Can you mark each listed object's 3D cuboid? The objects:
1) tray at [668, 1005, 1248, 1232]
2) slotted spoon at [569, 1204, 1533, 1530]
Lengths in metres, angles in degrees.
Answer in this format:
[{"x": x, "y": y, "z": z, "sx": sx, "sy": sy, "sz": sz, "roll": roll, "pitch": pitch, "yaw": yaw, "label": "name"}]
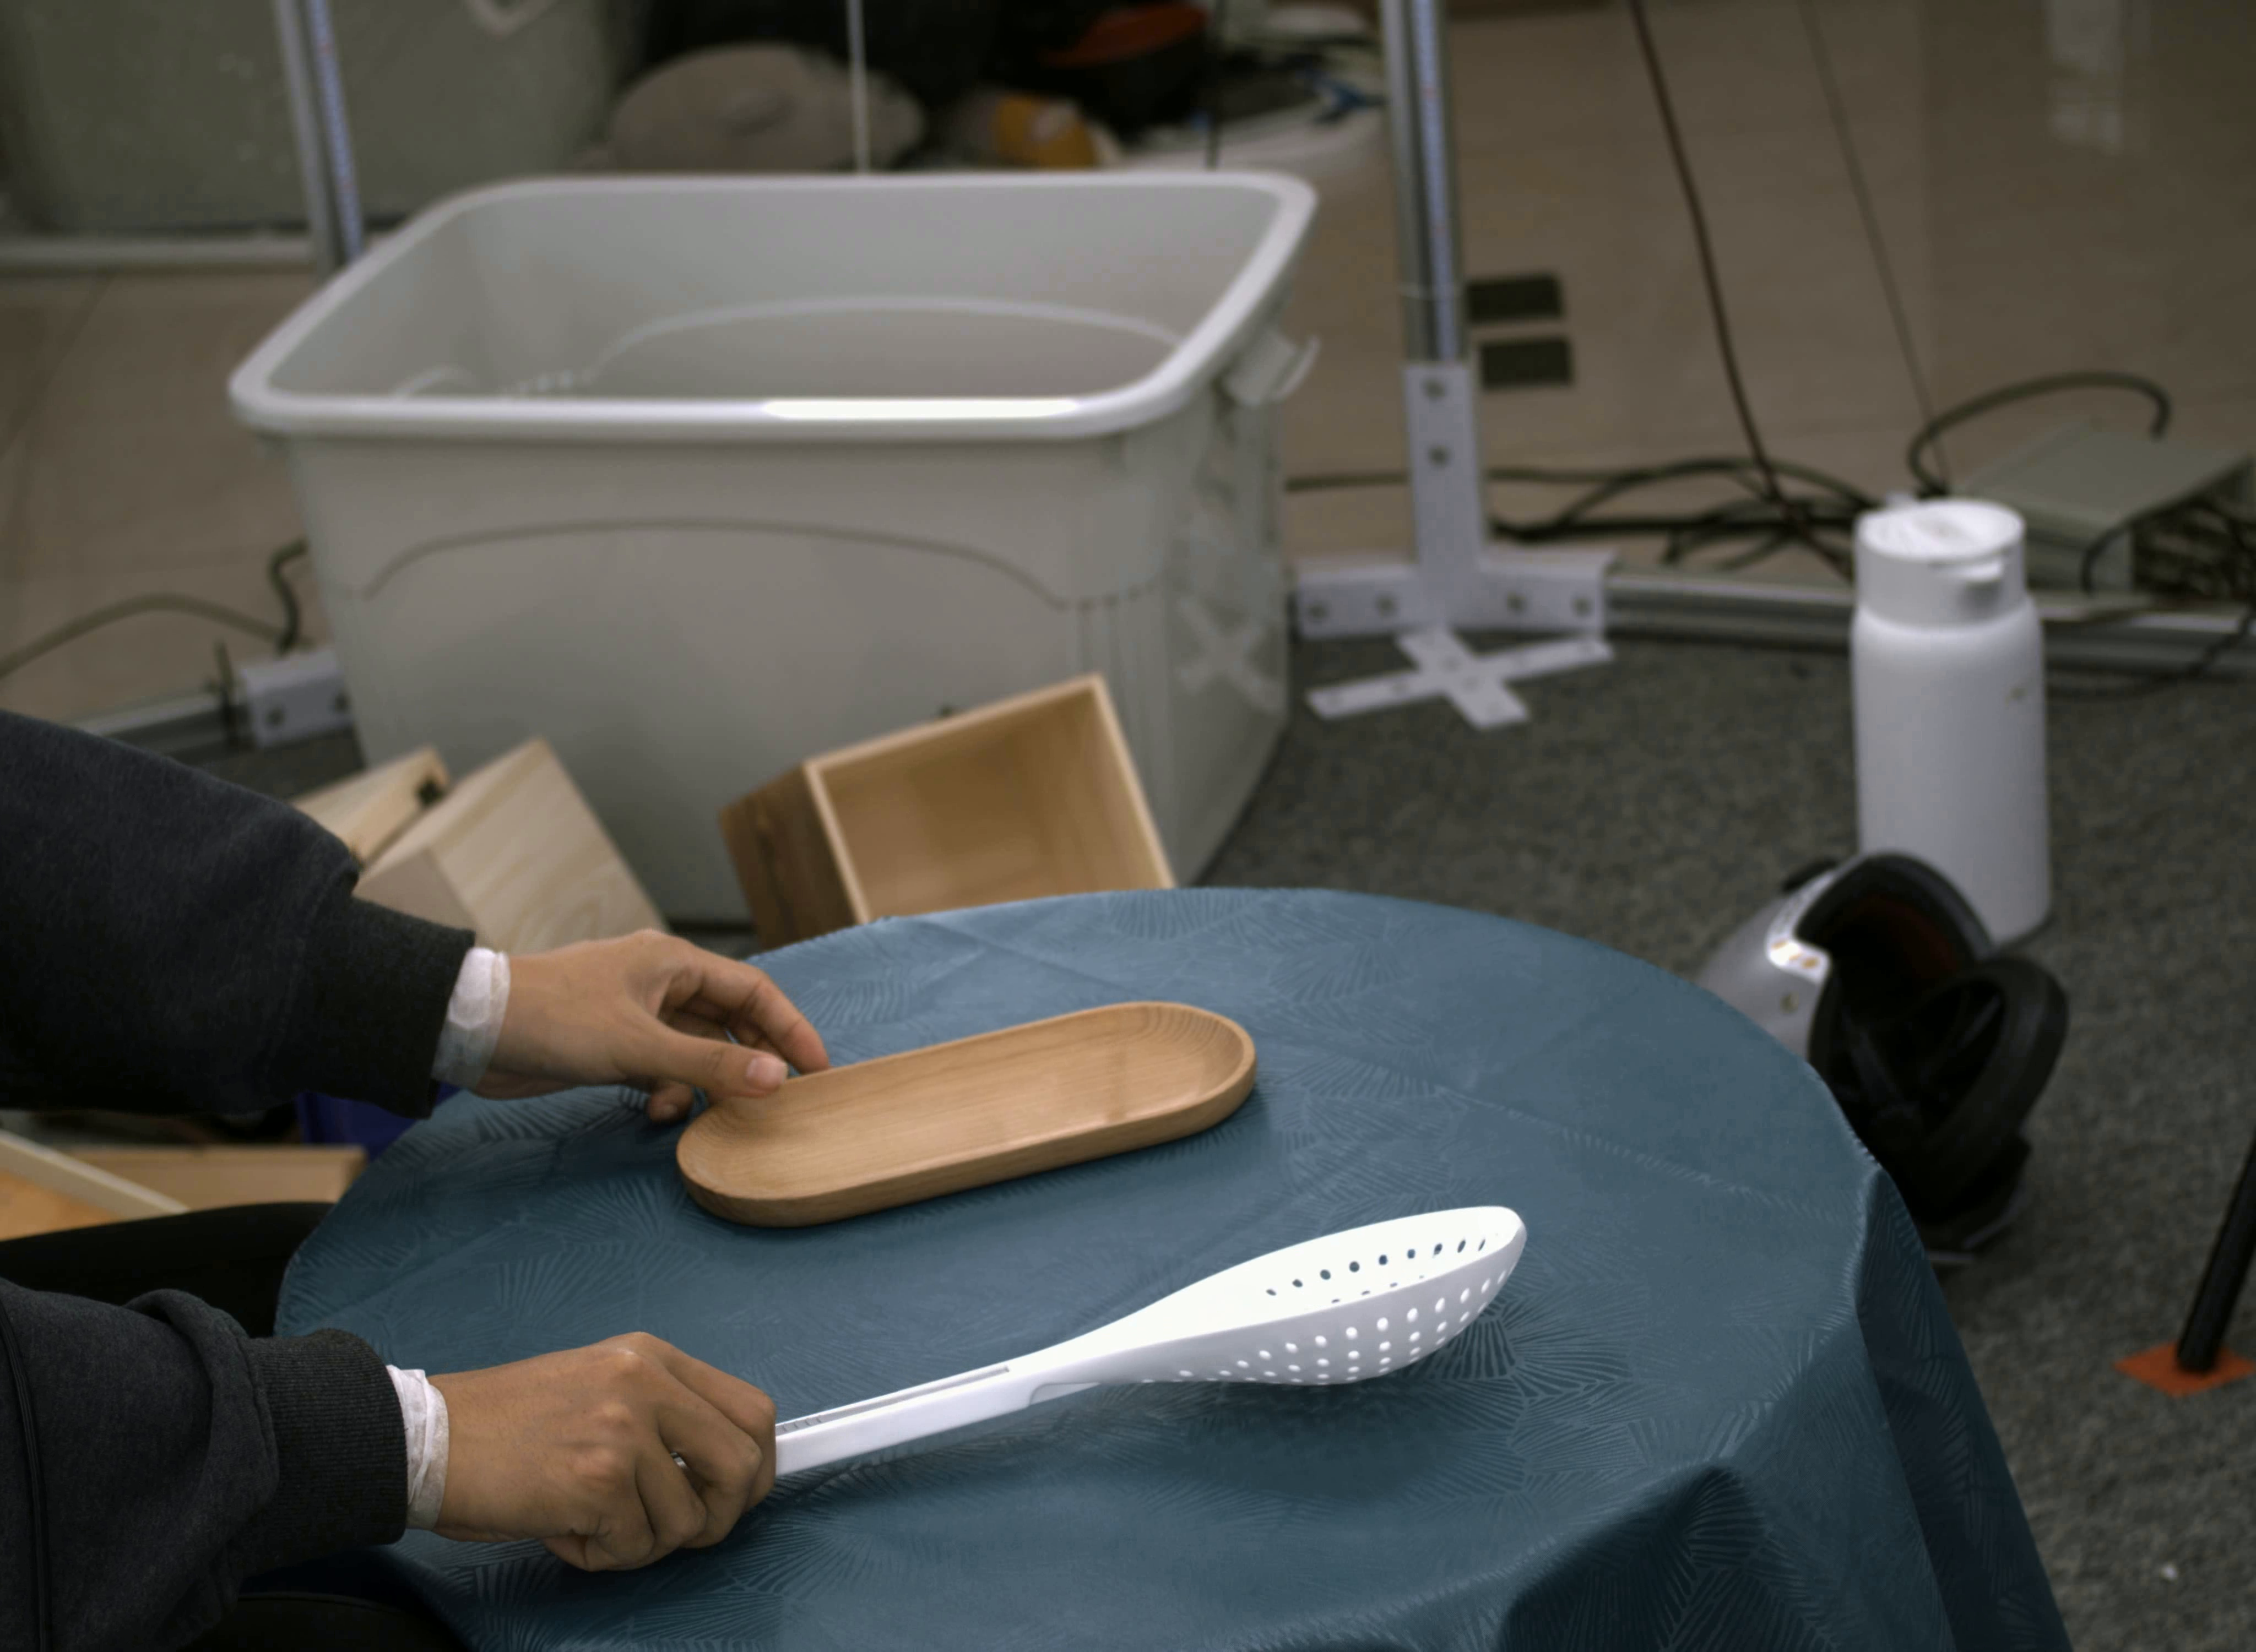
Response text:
[{"x": -0.065, "y": 0.113, "z": 2.198, "sx": 0.230, "sy": 0.020, "sz": 0.100, "roll": -14, "pitch": 25, "yaw": -14, "label": "tray"}, {"x": -0.025, "y": 0.189, "z": 1.981, "sx": 0.349, "sy": 0.046, "sz": 0.136, "roll": -11, "pitch": 3, "yaw": -6, "label": "slotted spoon"}]
